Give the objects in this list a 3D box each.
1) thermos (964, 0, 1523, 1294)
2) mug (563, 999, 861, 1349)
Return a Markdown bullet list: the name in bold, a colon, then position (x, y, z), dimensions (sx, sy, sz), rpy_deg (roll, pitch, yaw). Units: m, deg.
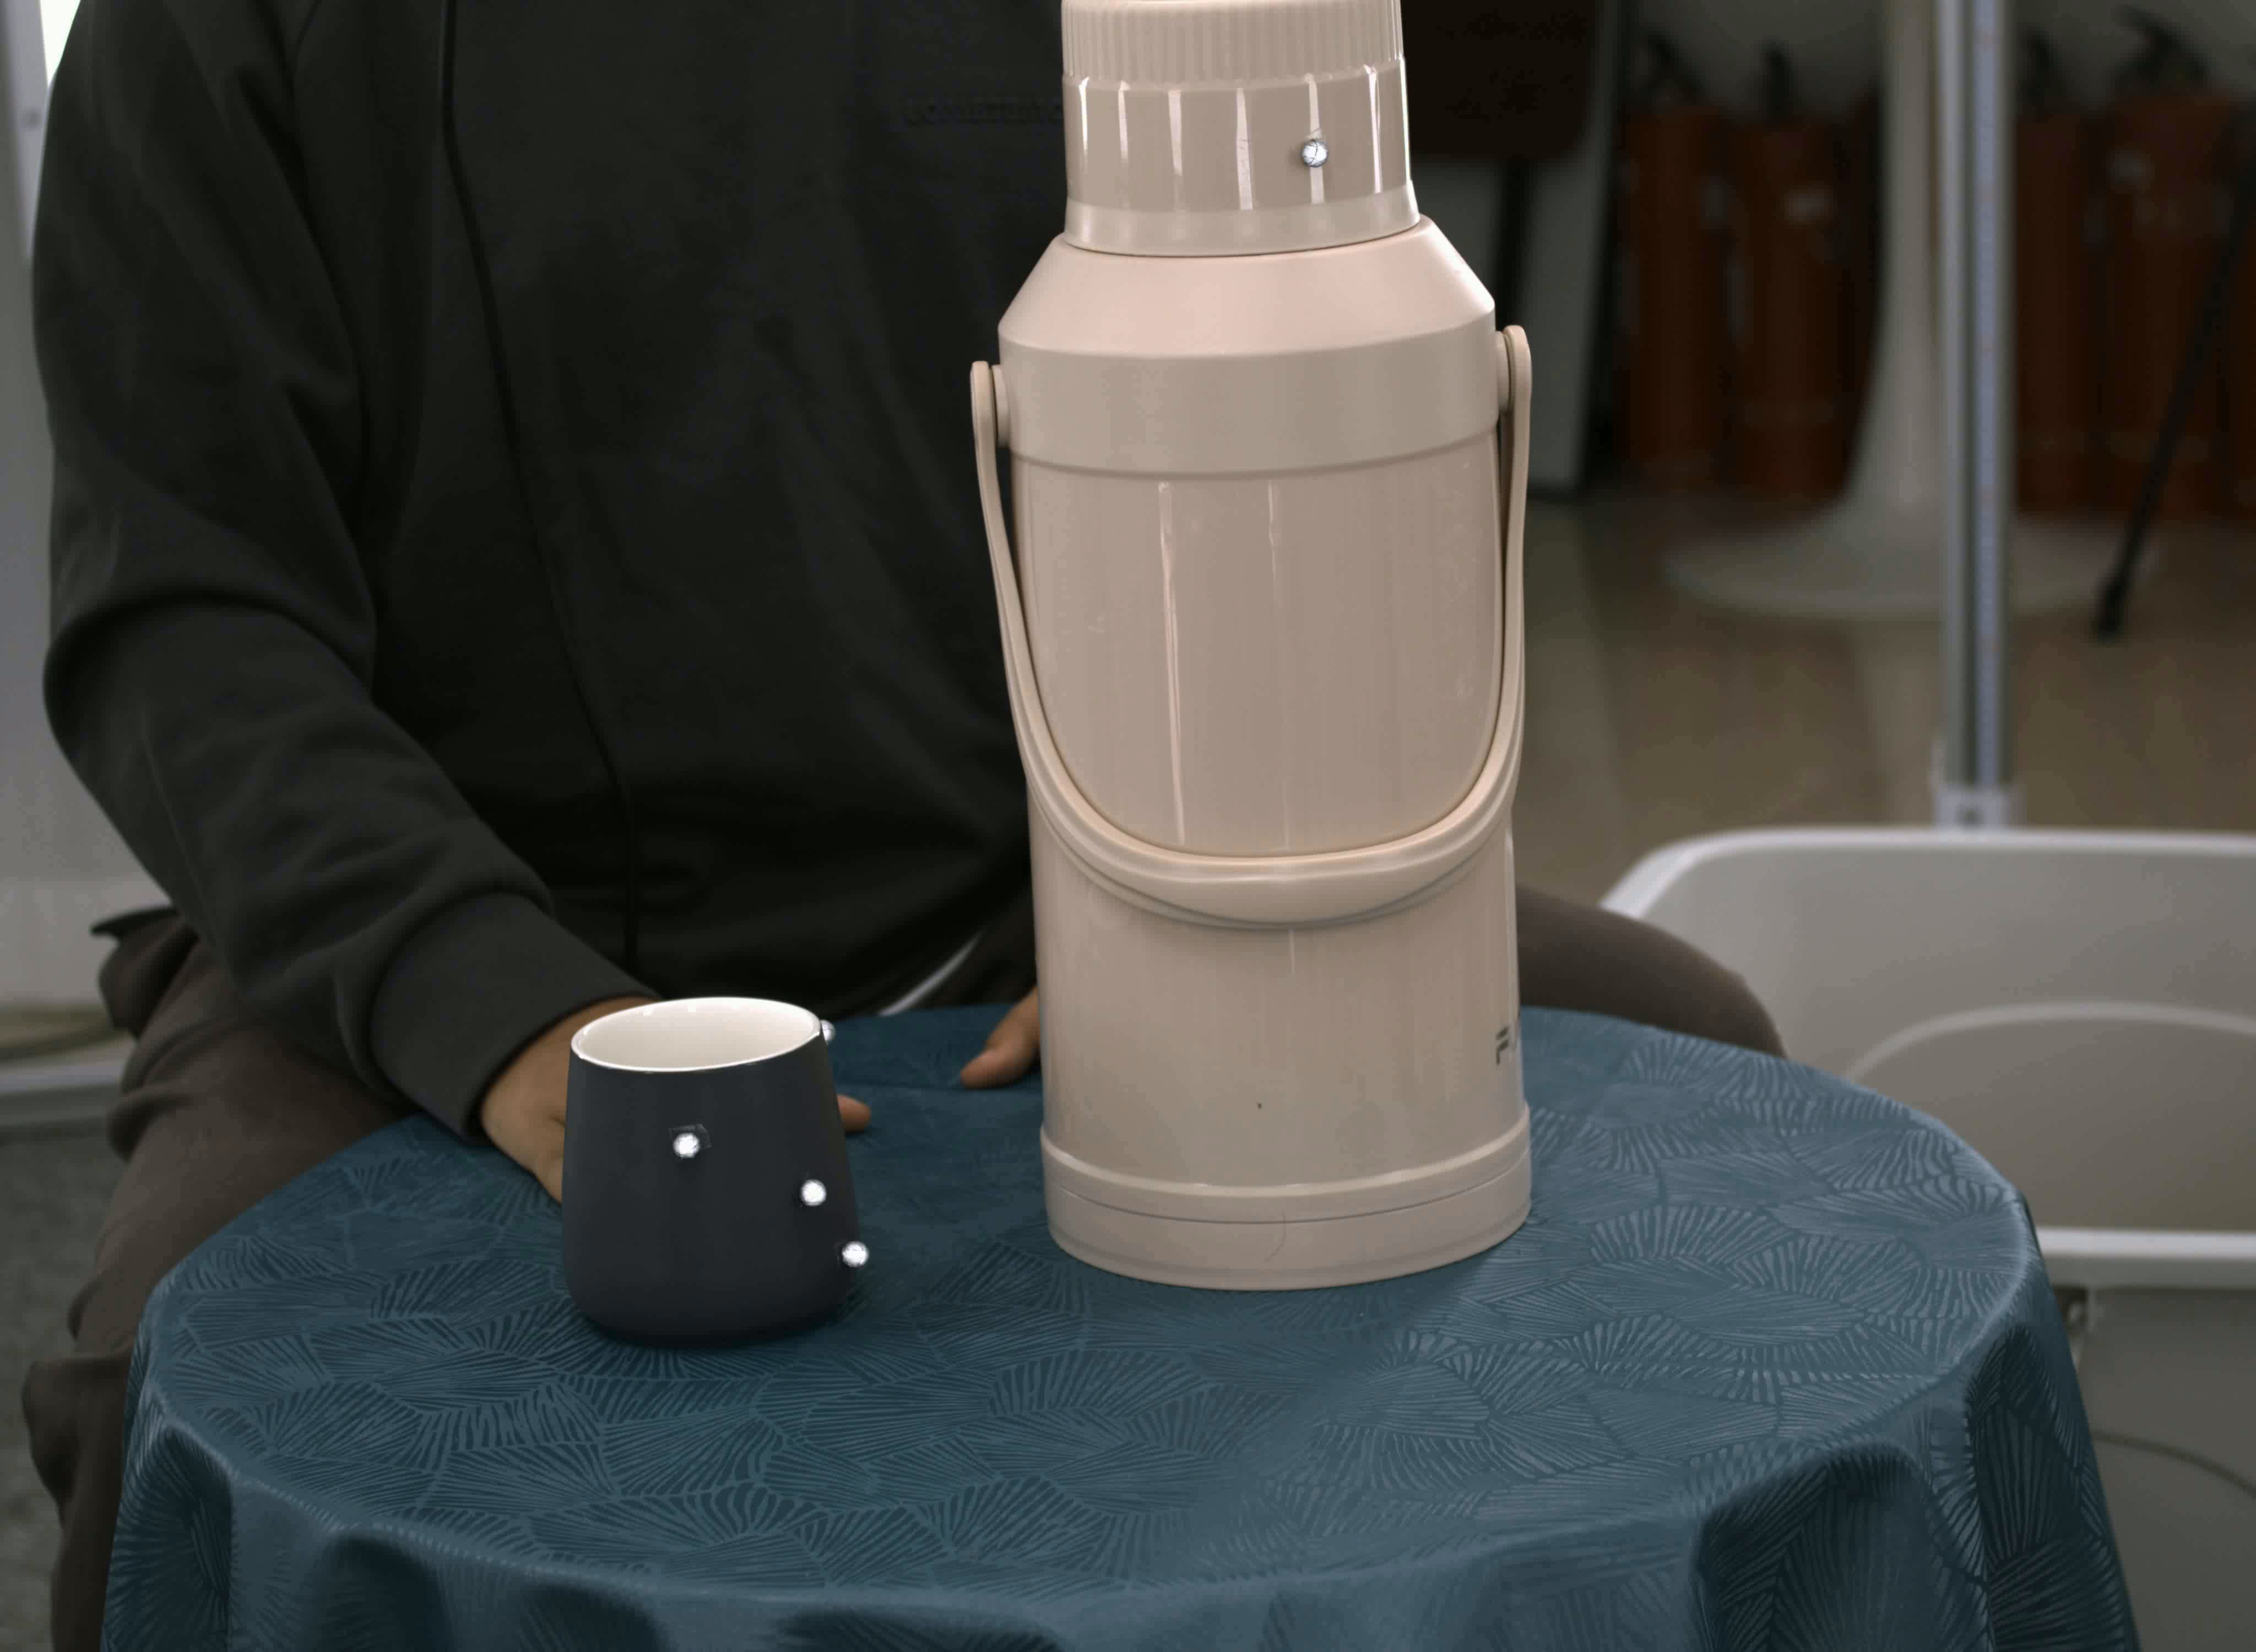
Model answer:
- **thermos**: position (0.039, -0.072, 1.710), dimensions (0.173, 0.411, 0.208), rpy_deg (-5, 14, -4)
- **mug**: position (-0.130, 0.104, 1.689), dimensions (0.092, 0.091, 0.123), rpy_deg (-3, 14, 2)
